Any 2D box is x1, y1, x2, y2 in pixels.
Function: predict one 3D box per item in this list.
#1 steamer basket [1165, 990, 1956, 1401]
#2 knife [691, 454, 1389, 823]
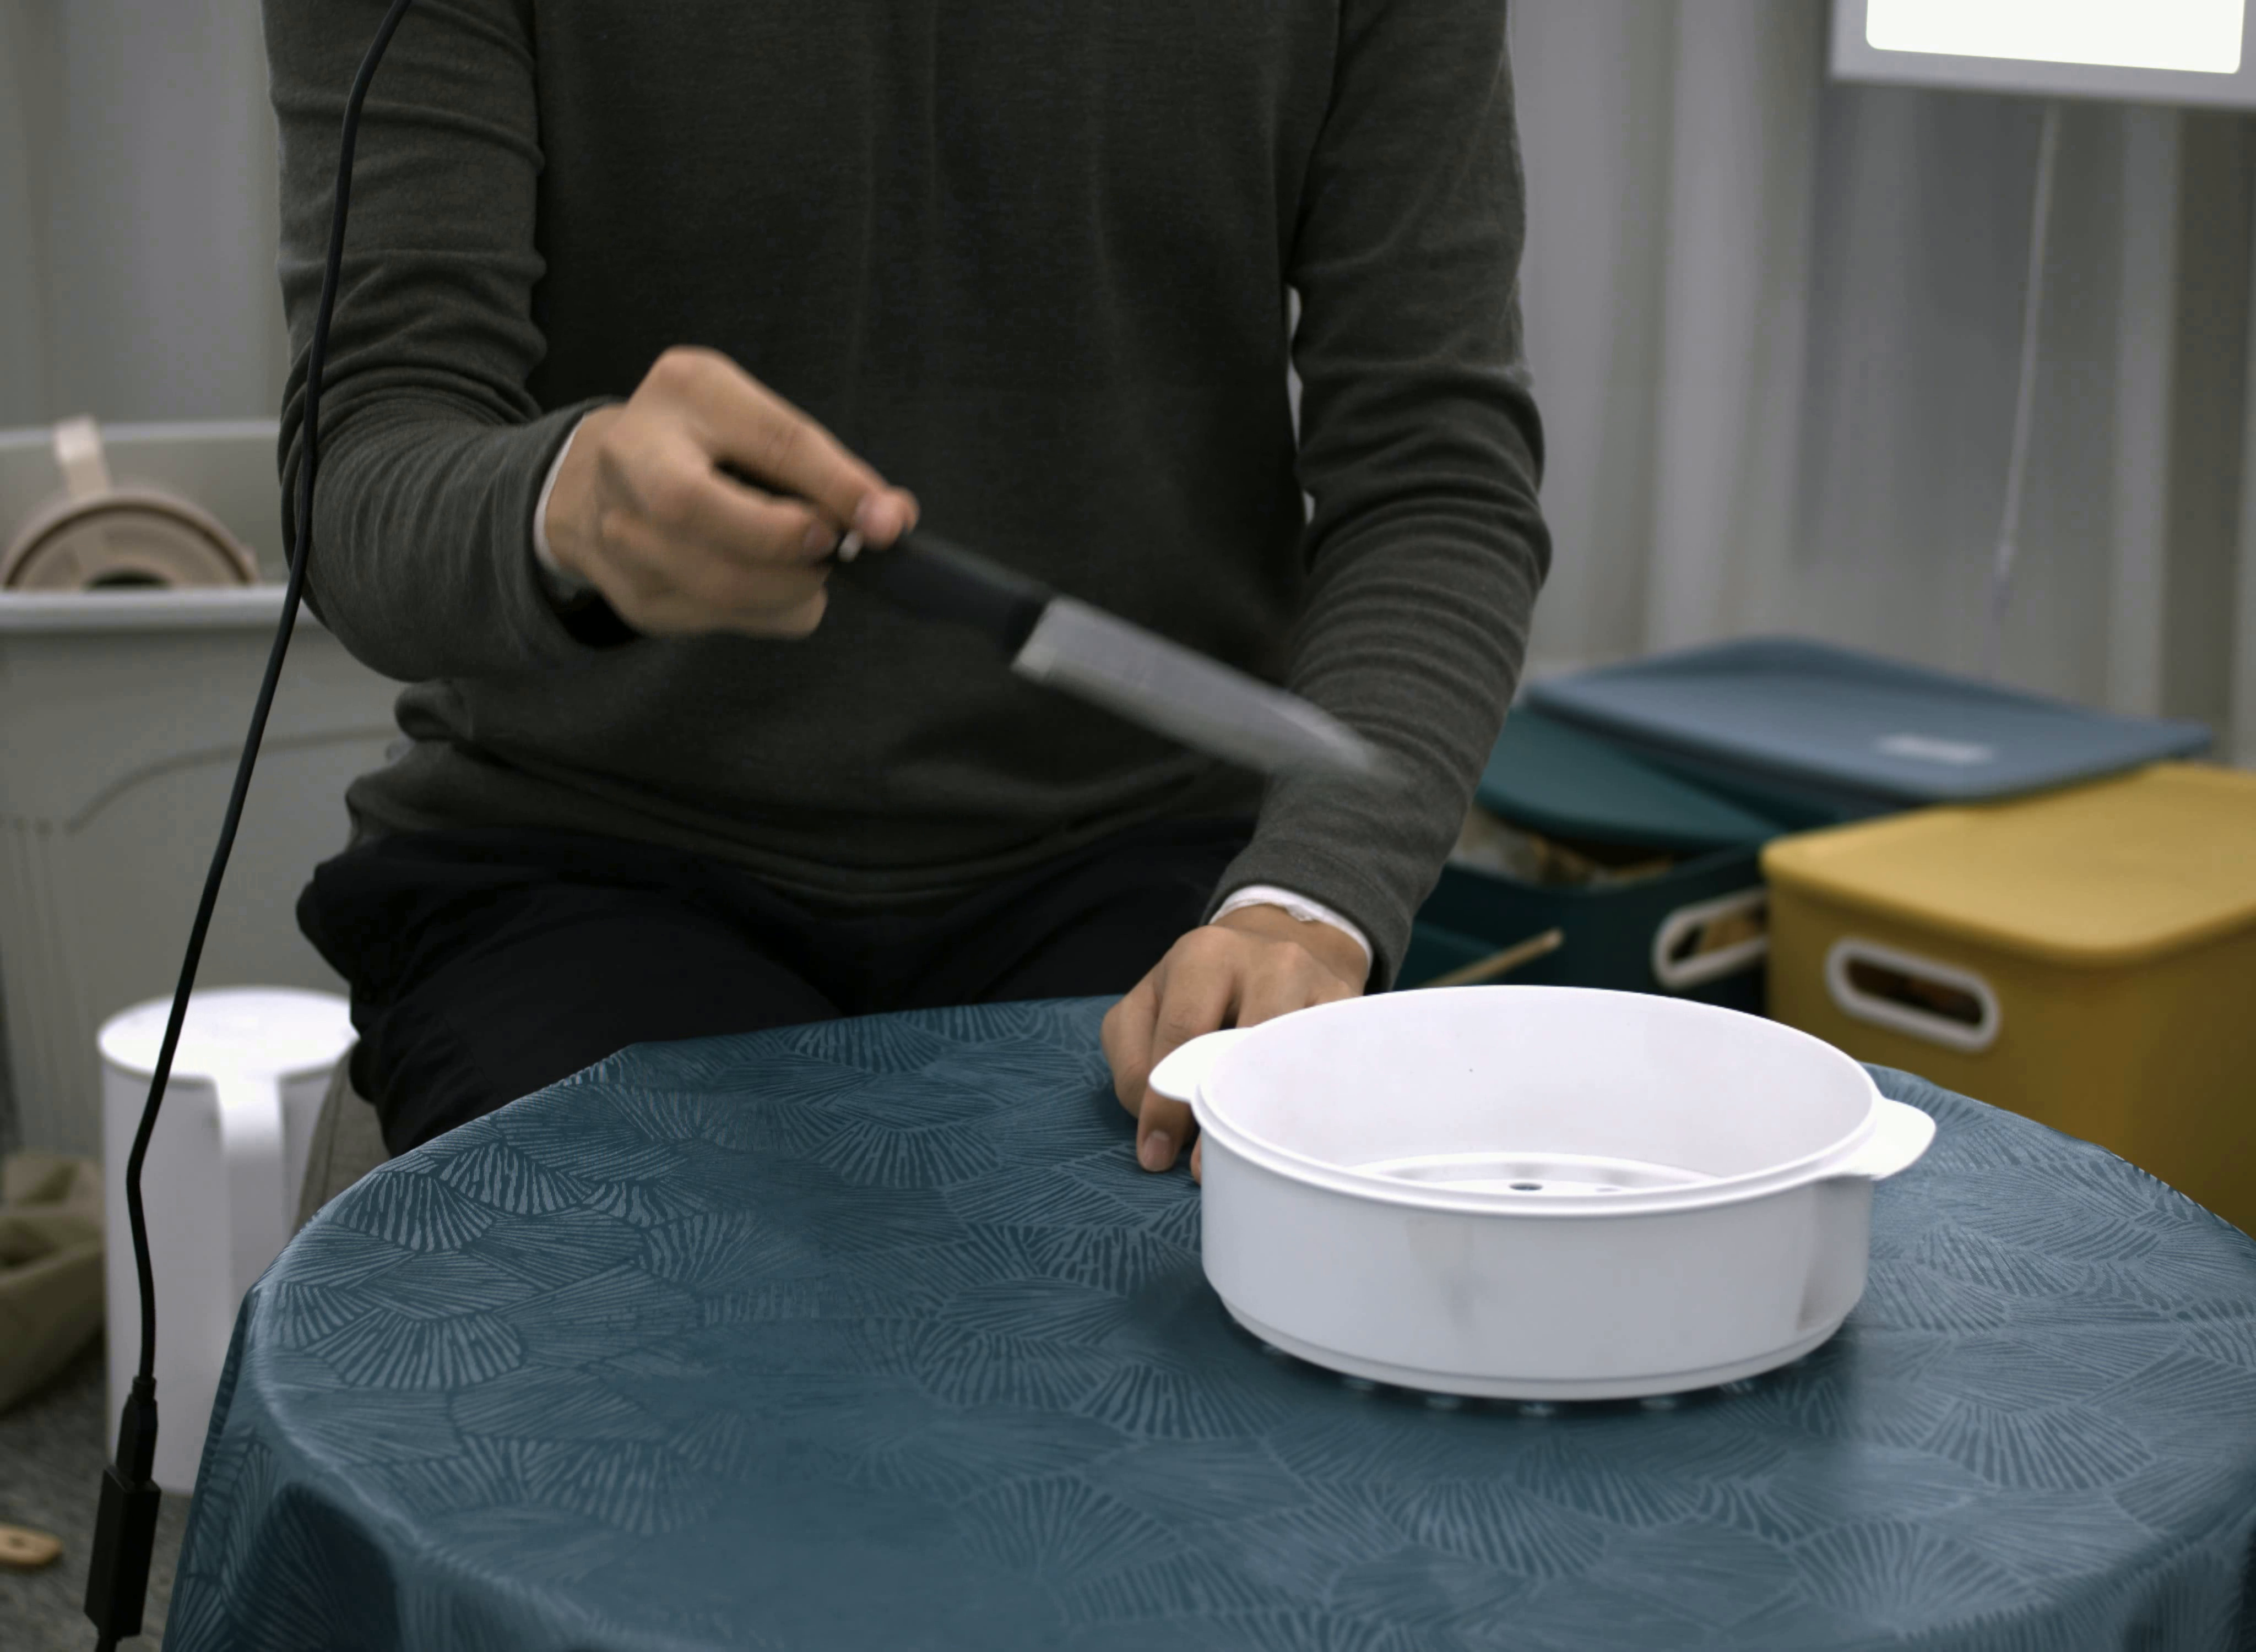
[{"bbox_3d":[0.123,0.106,1.524,0.228,0.070,0.202,6,16,20],"label":"steamer basket"},{"bbox_3d":[-0.025,-0.053,1.439,0.235,0.024,0.016,27,12,25],"label":"knife"}]
